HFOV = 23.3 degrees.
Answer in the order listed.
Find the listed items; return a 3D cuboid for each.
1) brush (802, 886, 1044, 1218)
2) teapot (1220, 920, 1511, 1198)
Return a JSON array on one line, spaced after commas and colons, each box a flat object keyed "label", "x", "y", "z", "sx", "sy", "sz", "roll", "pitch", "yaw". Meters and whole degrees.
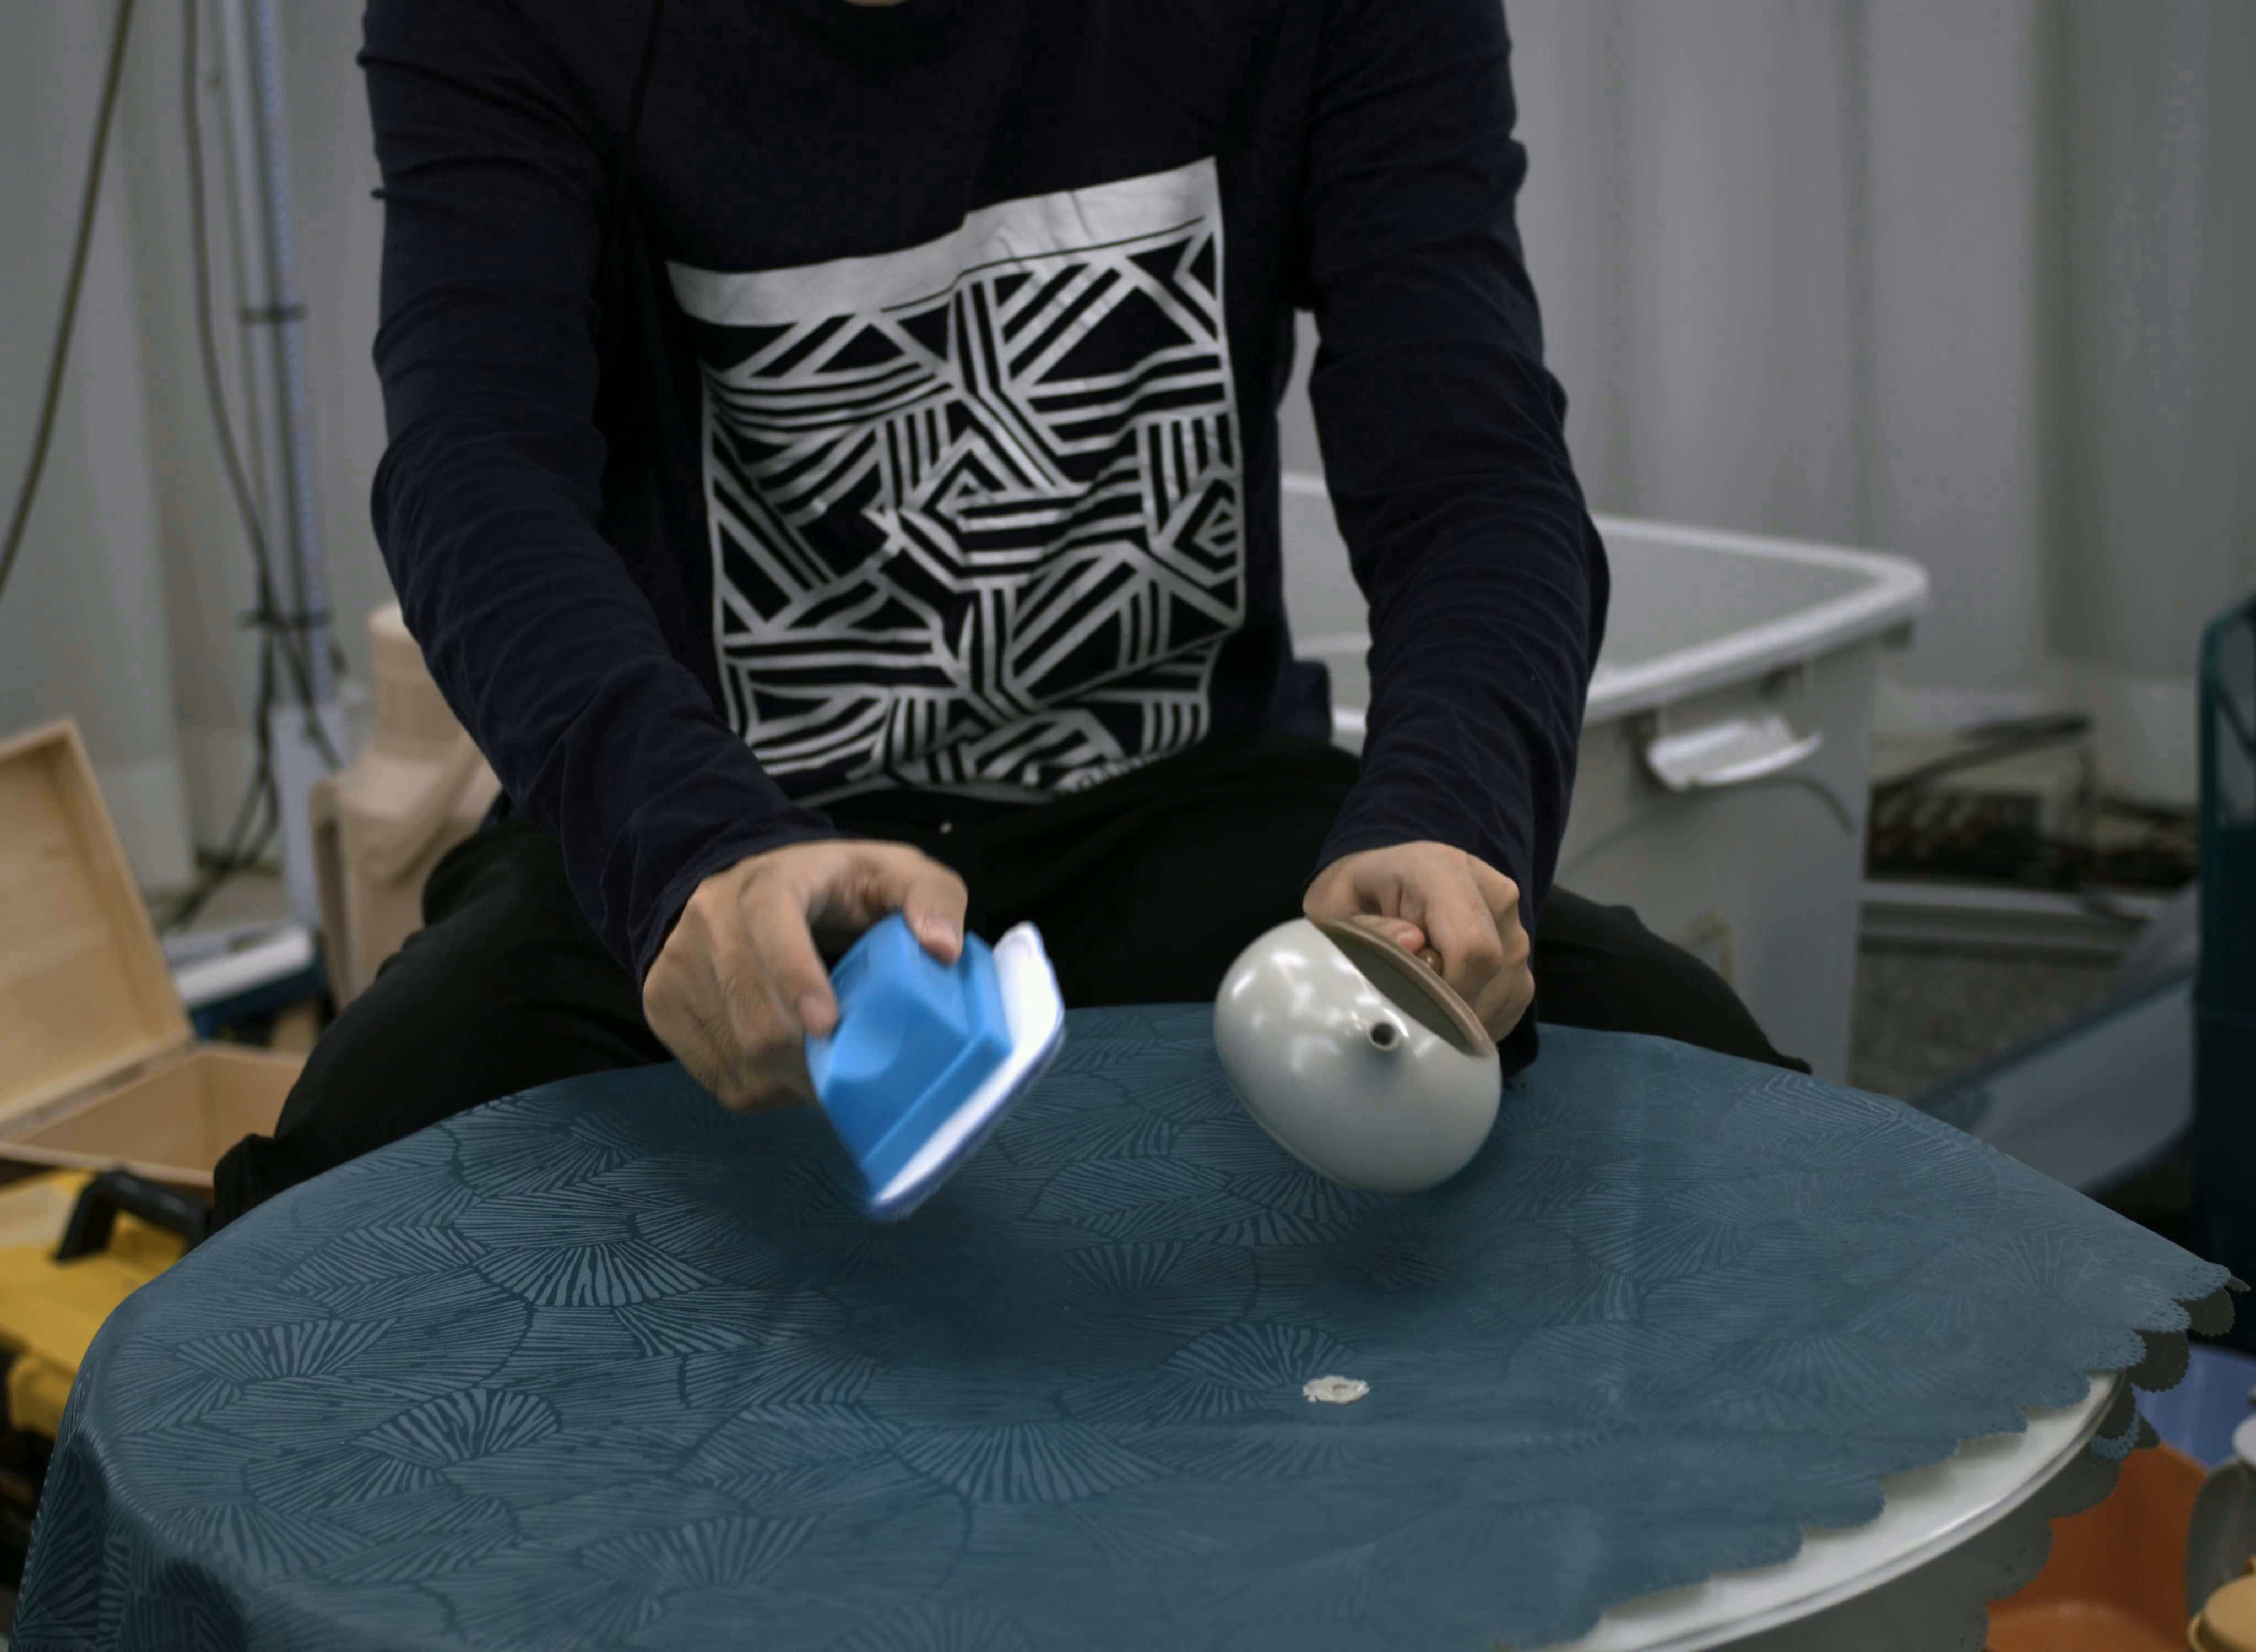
[{"label": "brush", "x": -0.068, "y": 0.062, "z": 1.614, "sx": 0.083, "sy": 0.055, "sz": 0.145, "roll": -44, "pitch": 13, "yaw": 9}, {"label": "teapot", "x": 0.072, "y": 0.067, "z": 1.634, "sx": 0.092, "sy": 0.059, "sz": 0.128, "roll": 35, "pitch": 17, "yaw": 0}]
